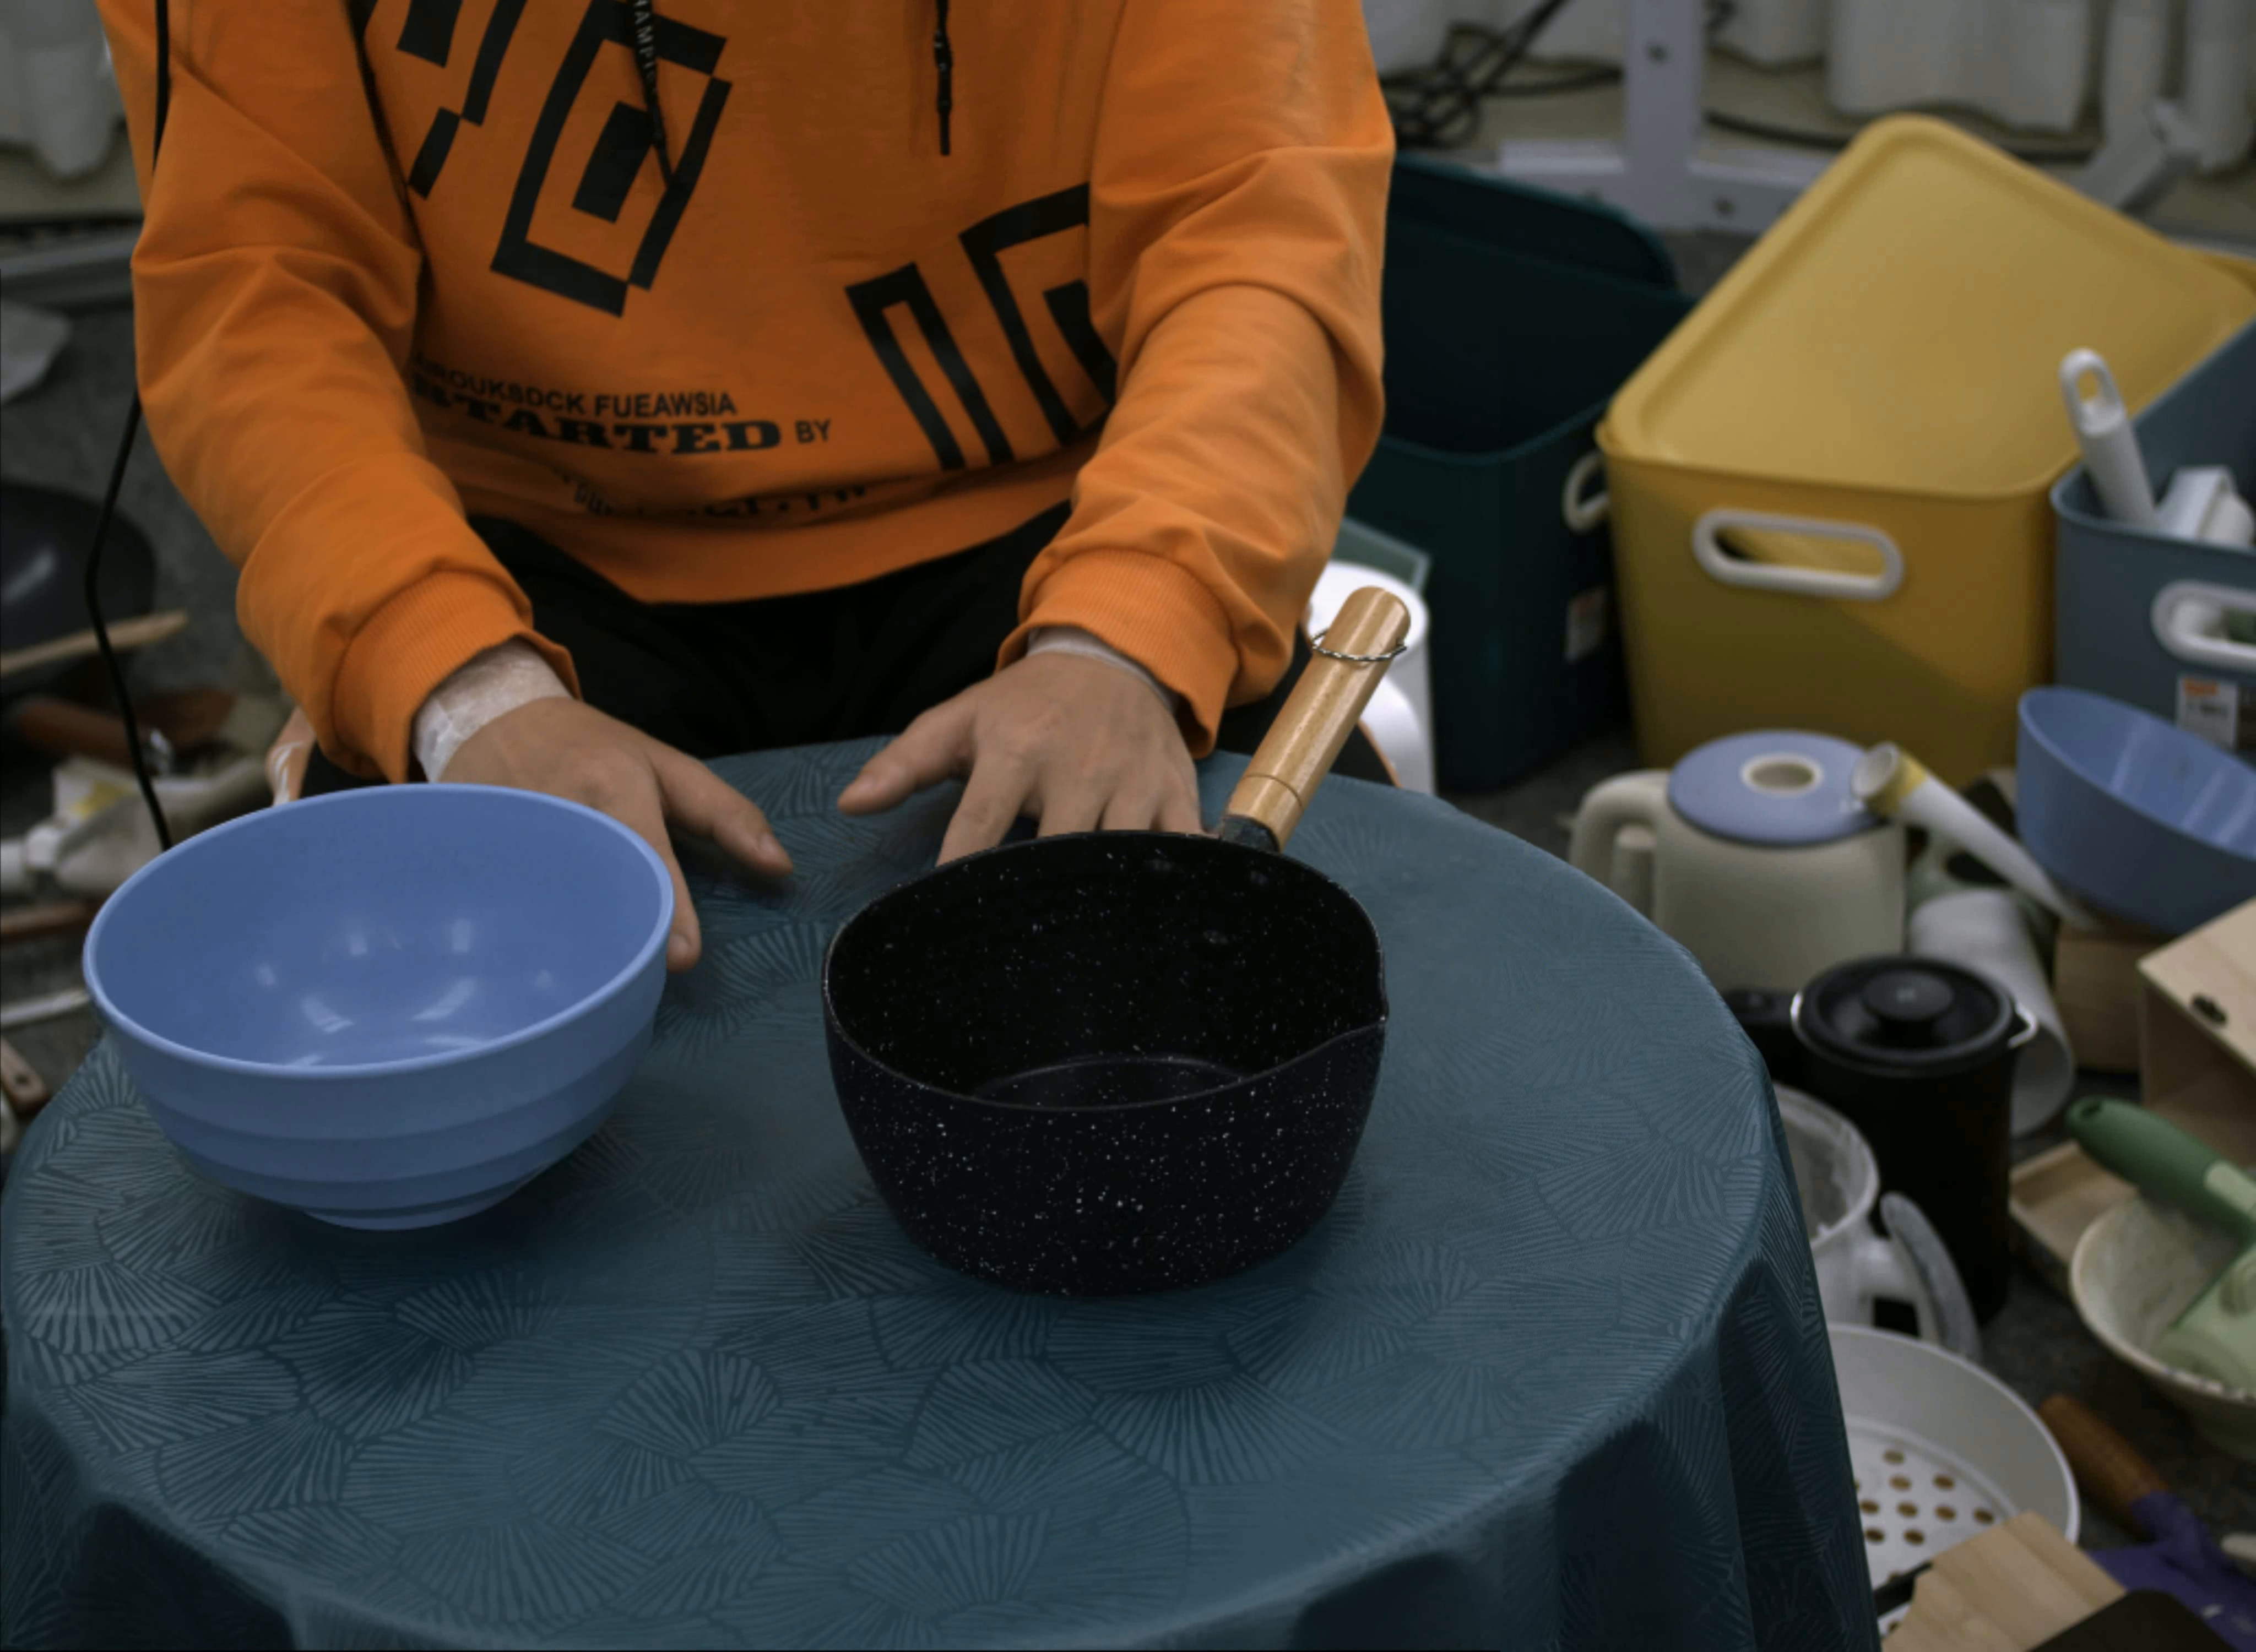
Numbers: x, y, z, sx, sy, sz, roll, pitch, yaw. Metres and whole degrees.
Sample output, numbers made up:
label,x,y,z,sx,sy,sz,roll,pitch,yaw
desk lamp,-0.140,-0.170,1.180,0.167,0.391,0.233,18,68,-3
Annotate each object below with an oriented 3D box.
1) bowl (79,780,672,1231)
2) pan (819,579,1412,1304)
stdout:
label,x,y,z,sx,sy,sz,roll,pitch,yaw
bowl,-0.245,0.072,1.879,0.195,0.094,0.199,-3,28,2
pan,0.024,0.035,1.910,0.206,0.107,0.349,7,30,22
